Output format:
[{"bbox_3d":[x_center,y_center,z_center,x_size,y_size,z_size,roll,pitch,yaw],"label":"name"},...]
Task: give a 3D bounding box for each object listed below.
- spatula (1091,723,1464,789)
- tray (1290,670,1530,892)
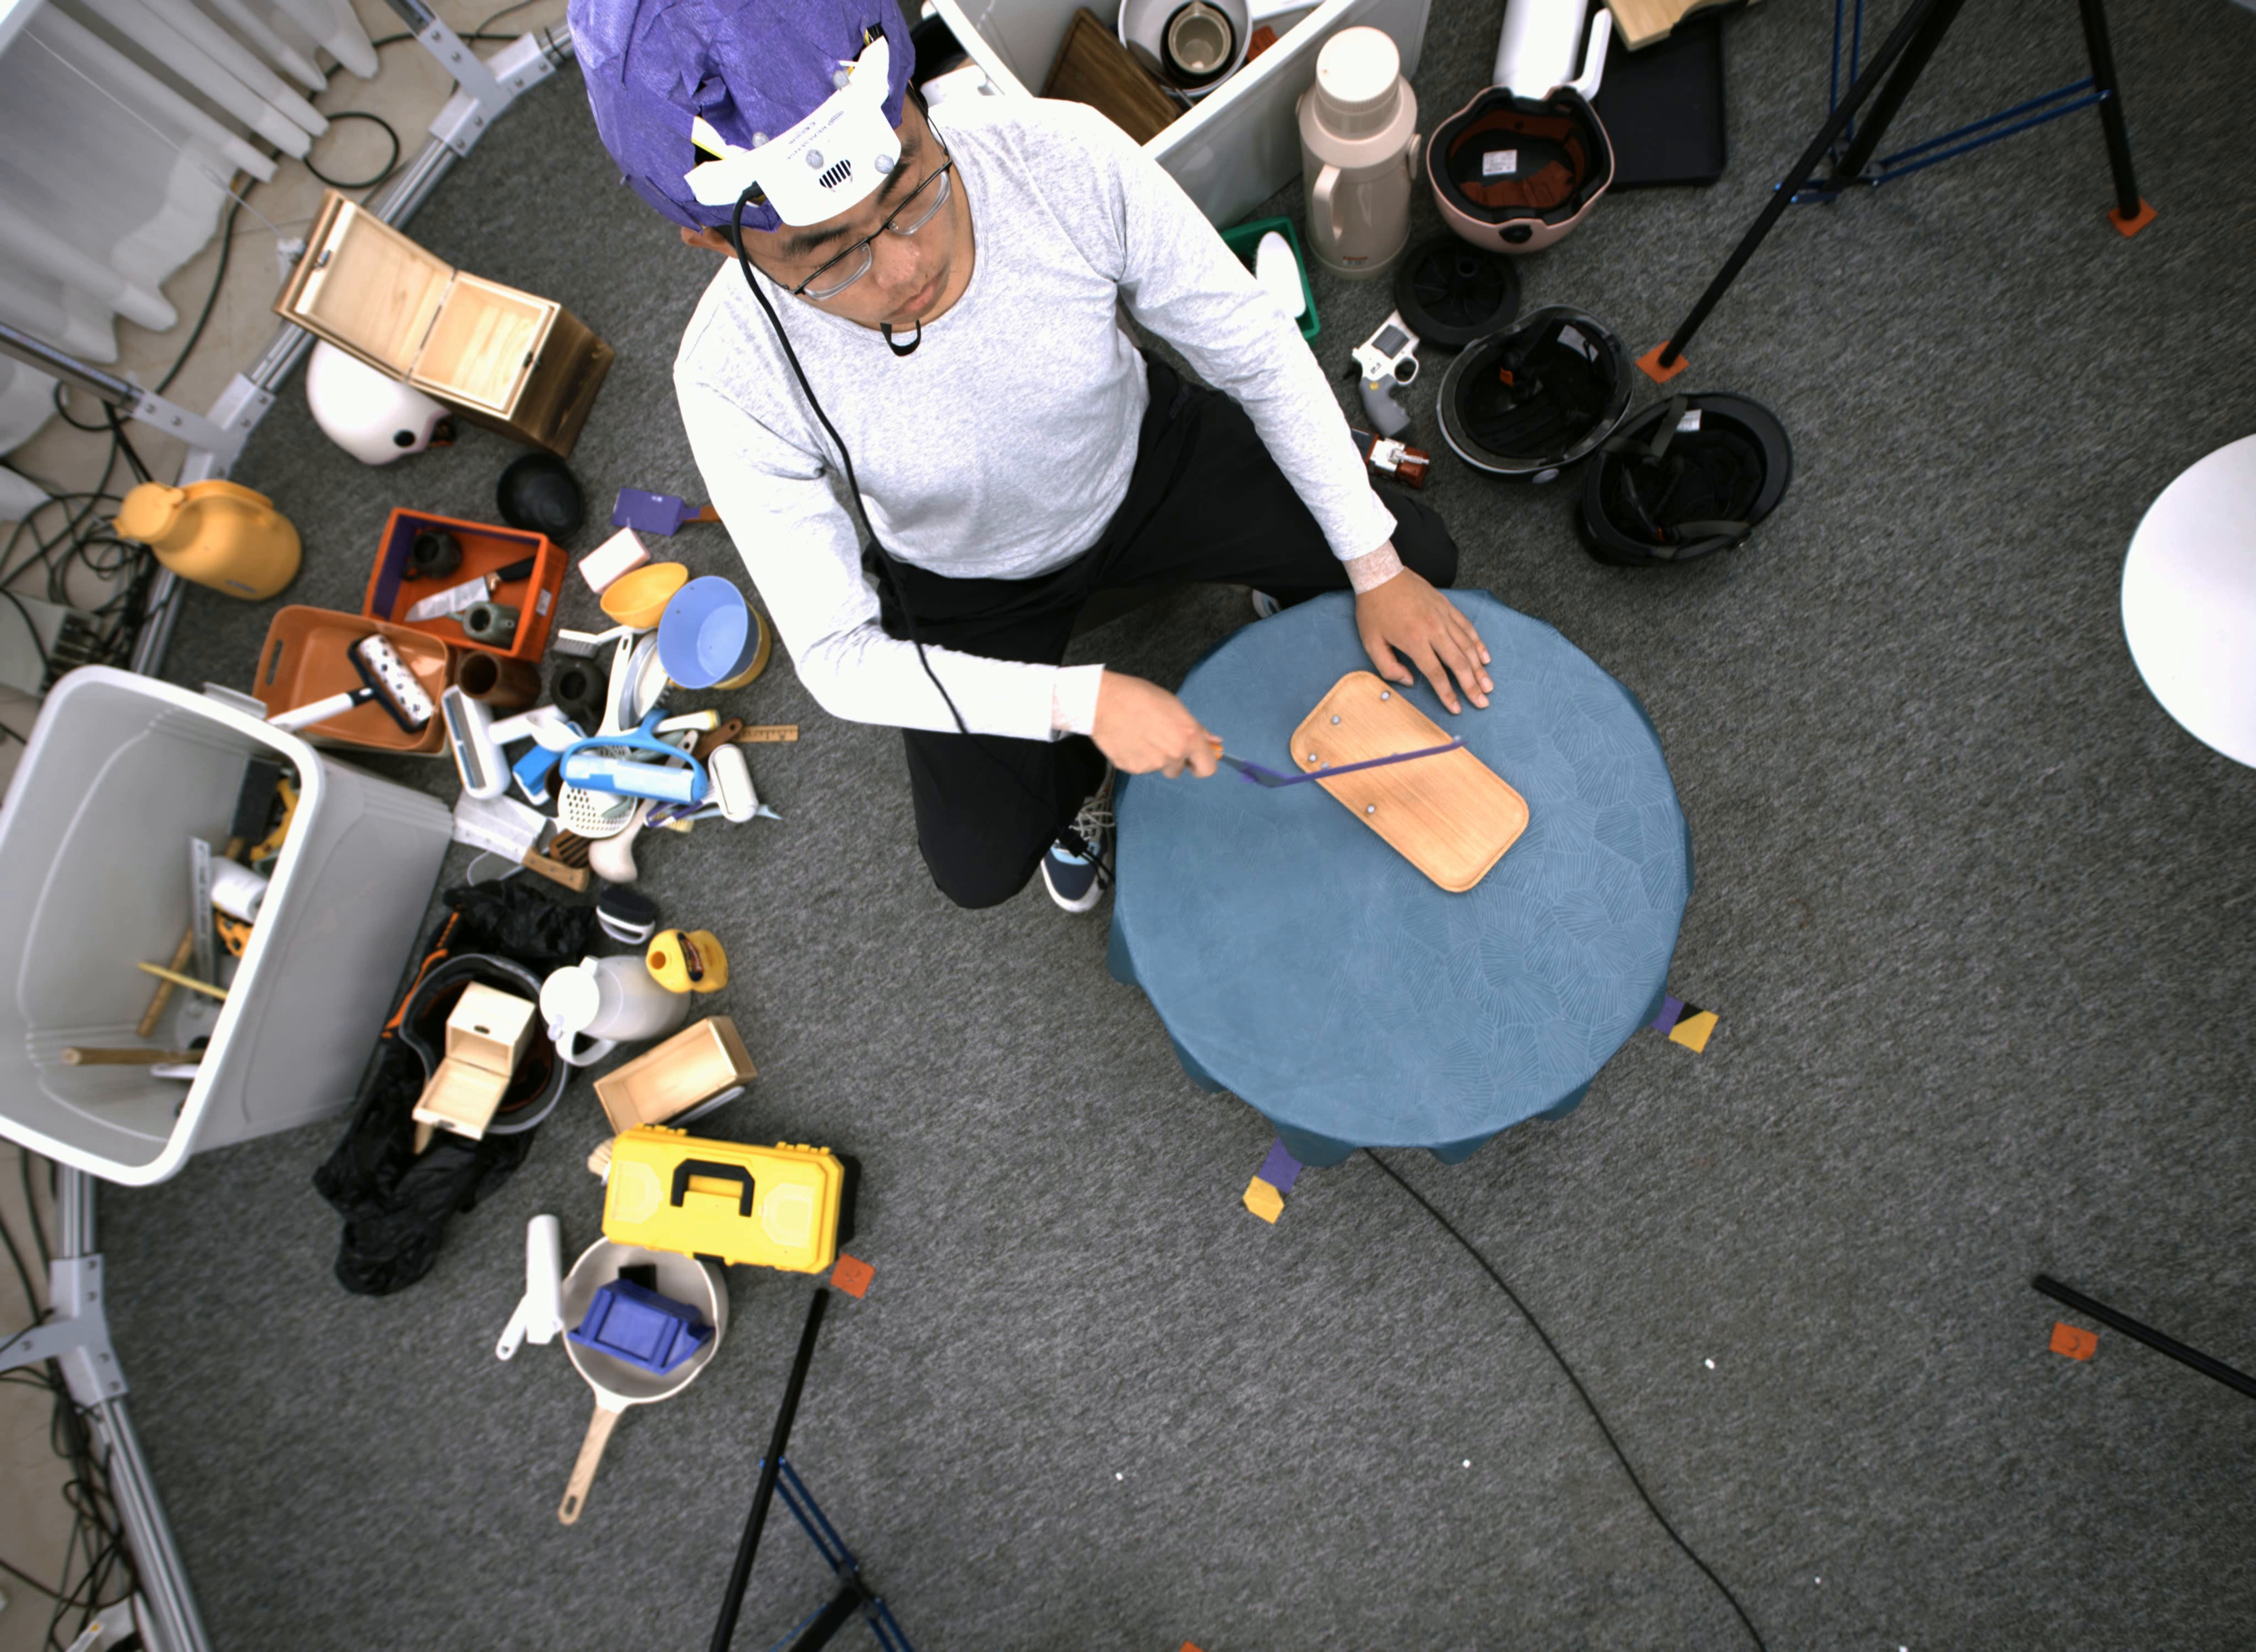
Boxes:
[{"bbox_3d":[0.147,-0.082,1.347,0.359,0.076,0.086,14,83,-5],"label":"spatula"},{"bbox_3d":[0.296,-0.050,1.454,0.249,0.023,0.131,42,98,10],"label":"tray"}]
